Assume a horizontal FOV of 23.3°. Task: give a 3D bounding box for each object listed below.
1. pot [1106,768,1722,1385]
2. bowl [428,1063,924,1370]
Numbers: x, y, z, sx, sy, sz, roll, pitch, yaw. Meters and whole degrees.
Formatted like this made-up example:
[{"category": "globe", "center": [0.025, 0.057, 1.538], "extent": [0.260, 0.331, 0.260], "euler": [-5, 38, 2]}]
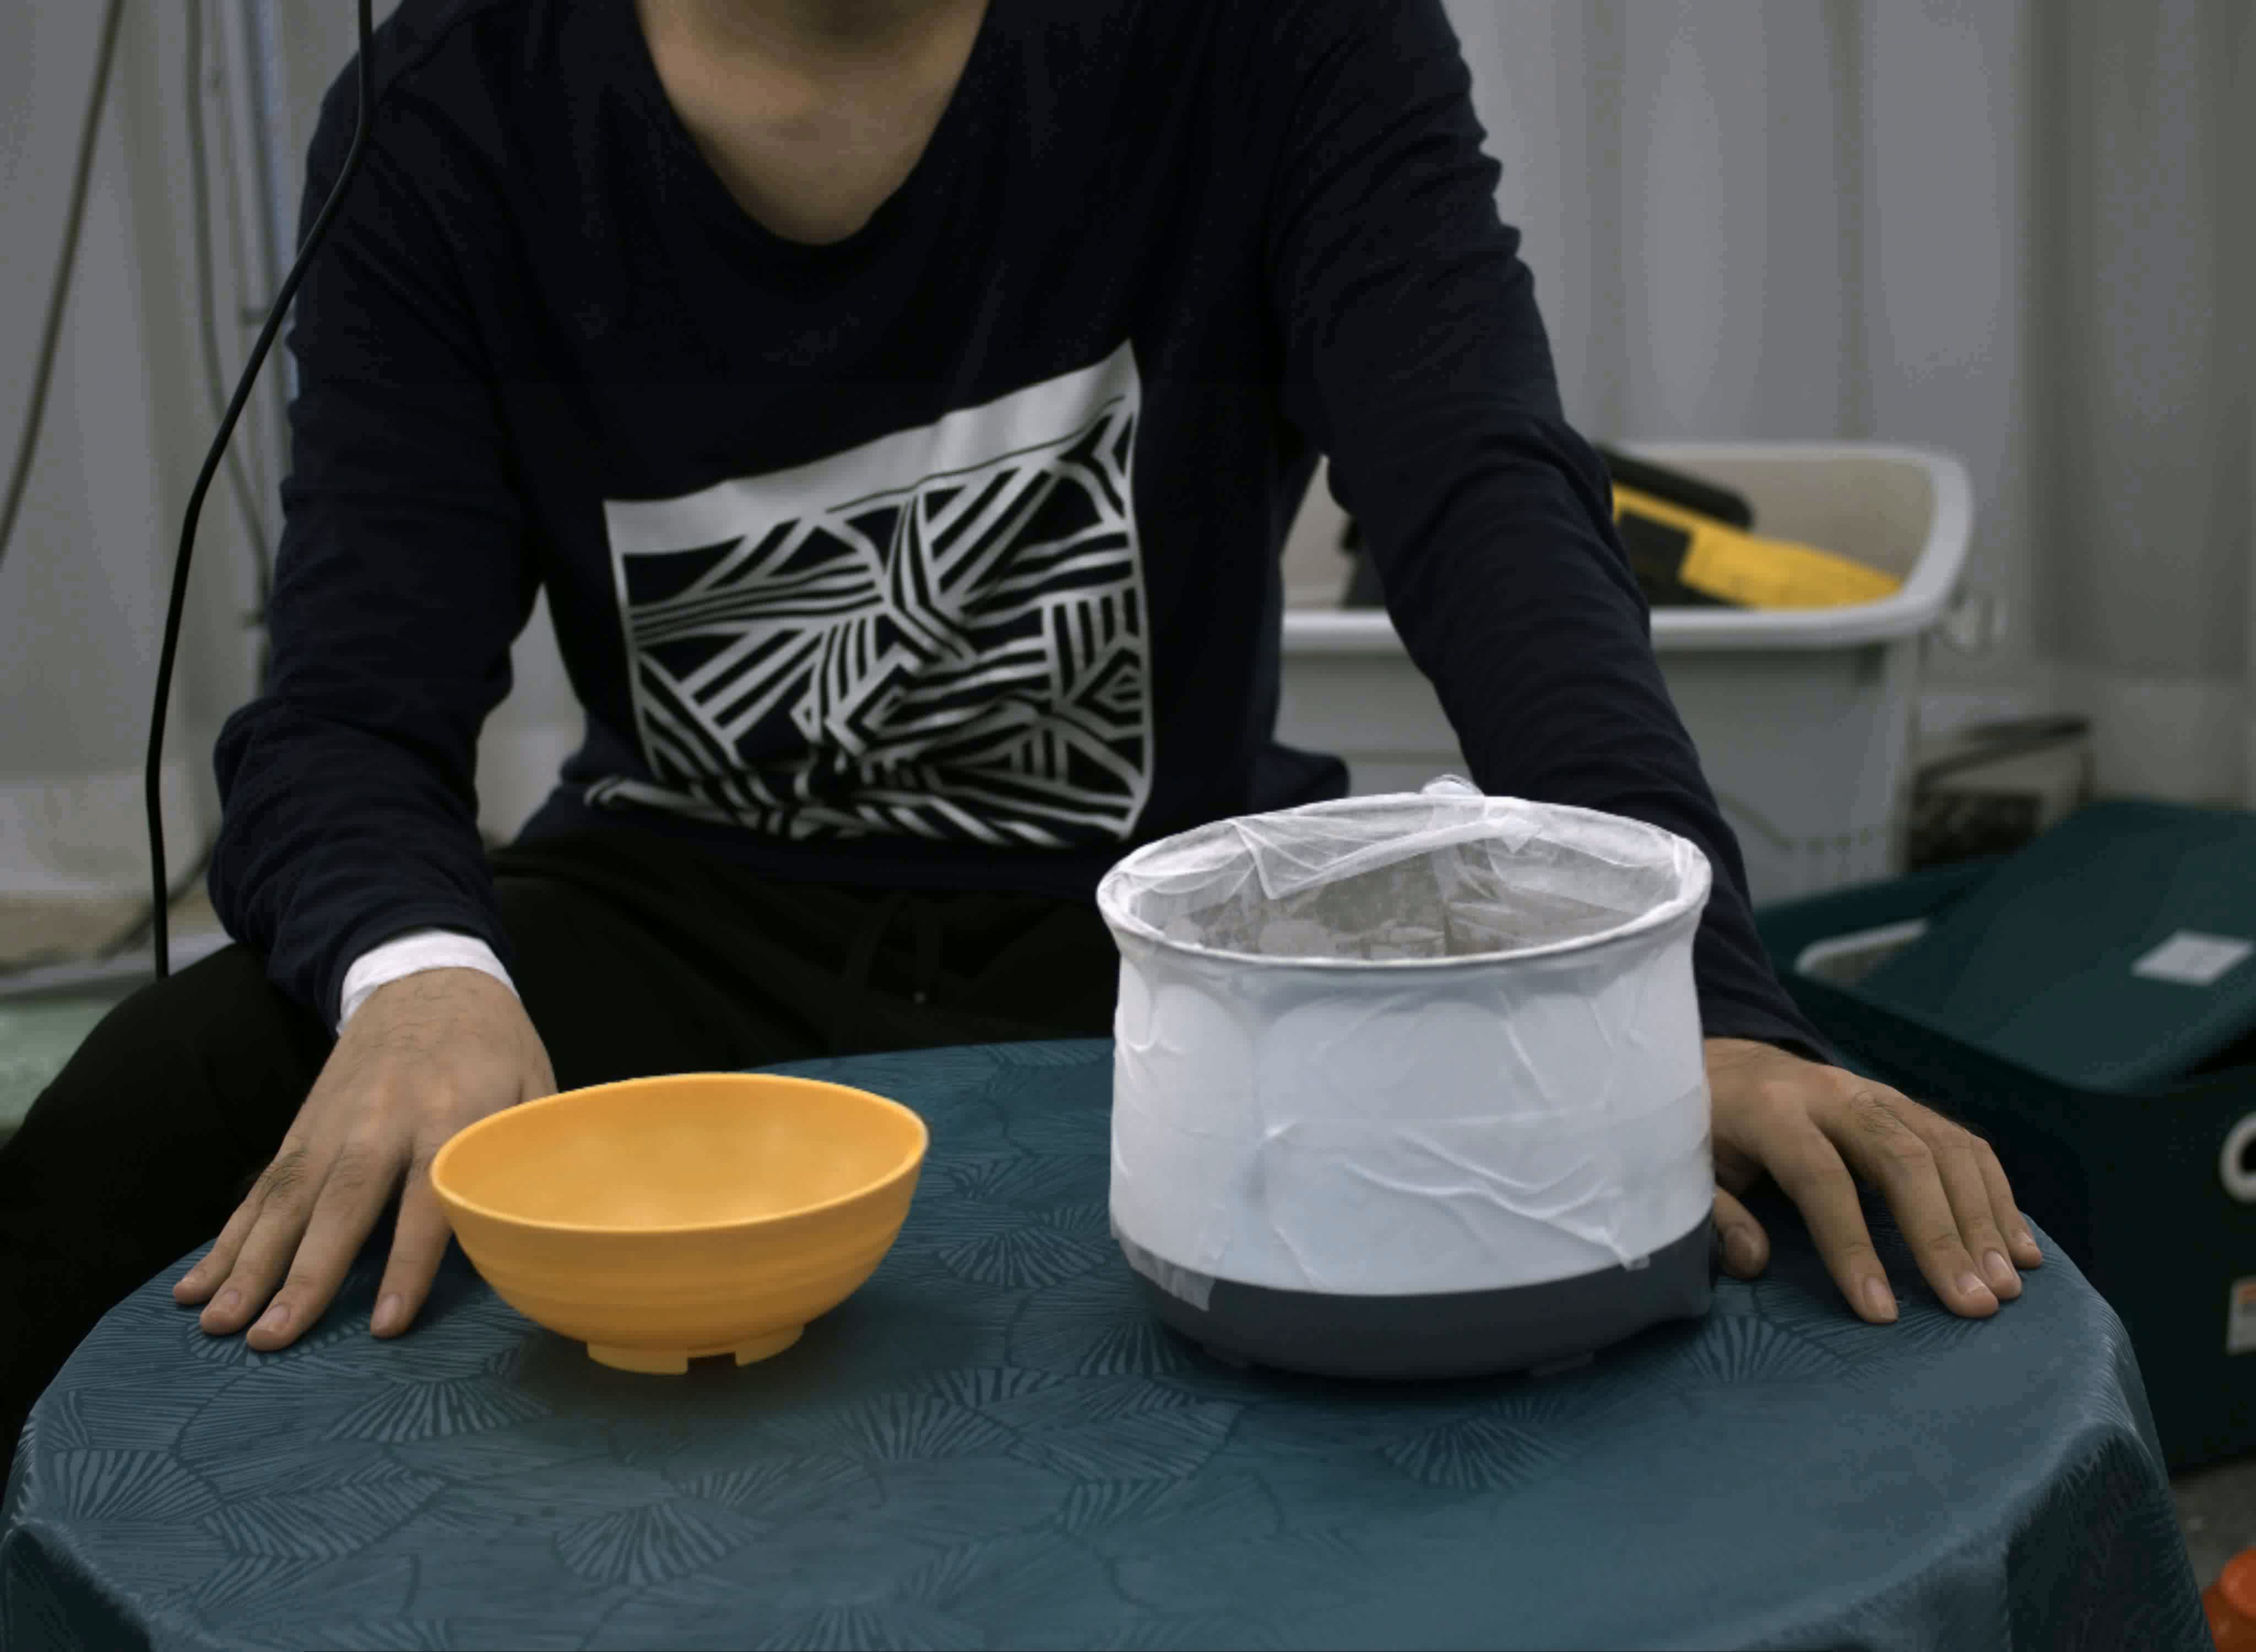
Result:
[{"category": "pot", "center": [0.086, 0.068, 1.611], "extent": [0.178, 0.136, 0.235], "euler": [2, 16, 9]}, {"category": "bowl", "center": [-0.131, 0.120, 1.601], "extent": [0.145, 0.060, 0.146], "euler": [-2, 15, 0]}]
